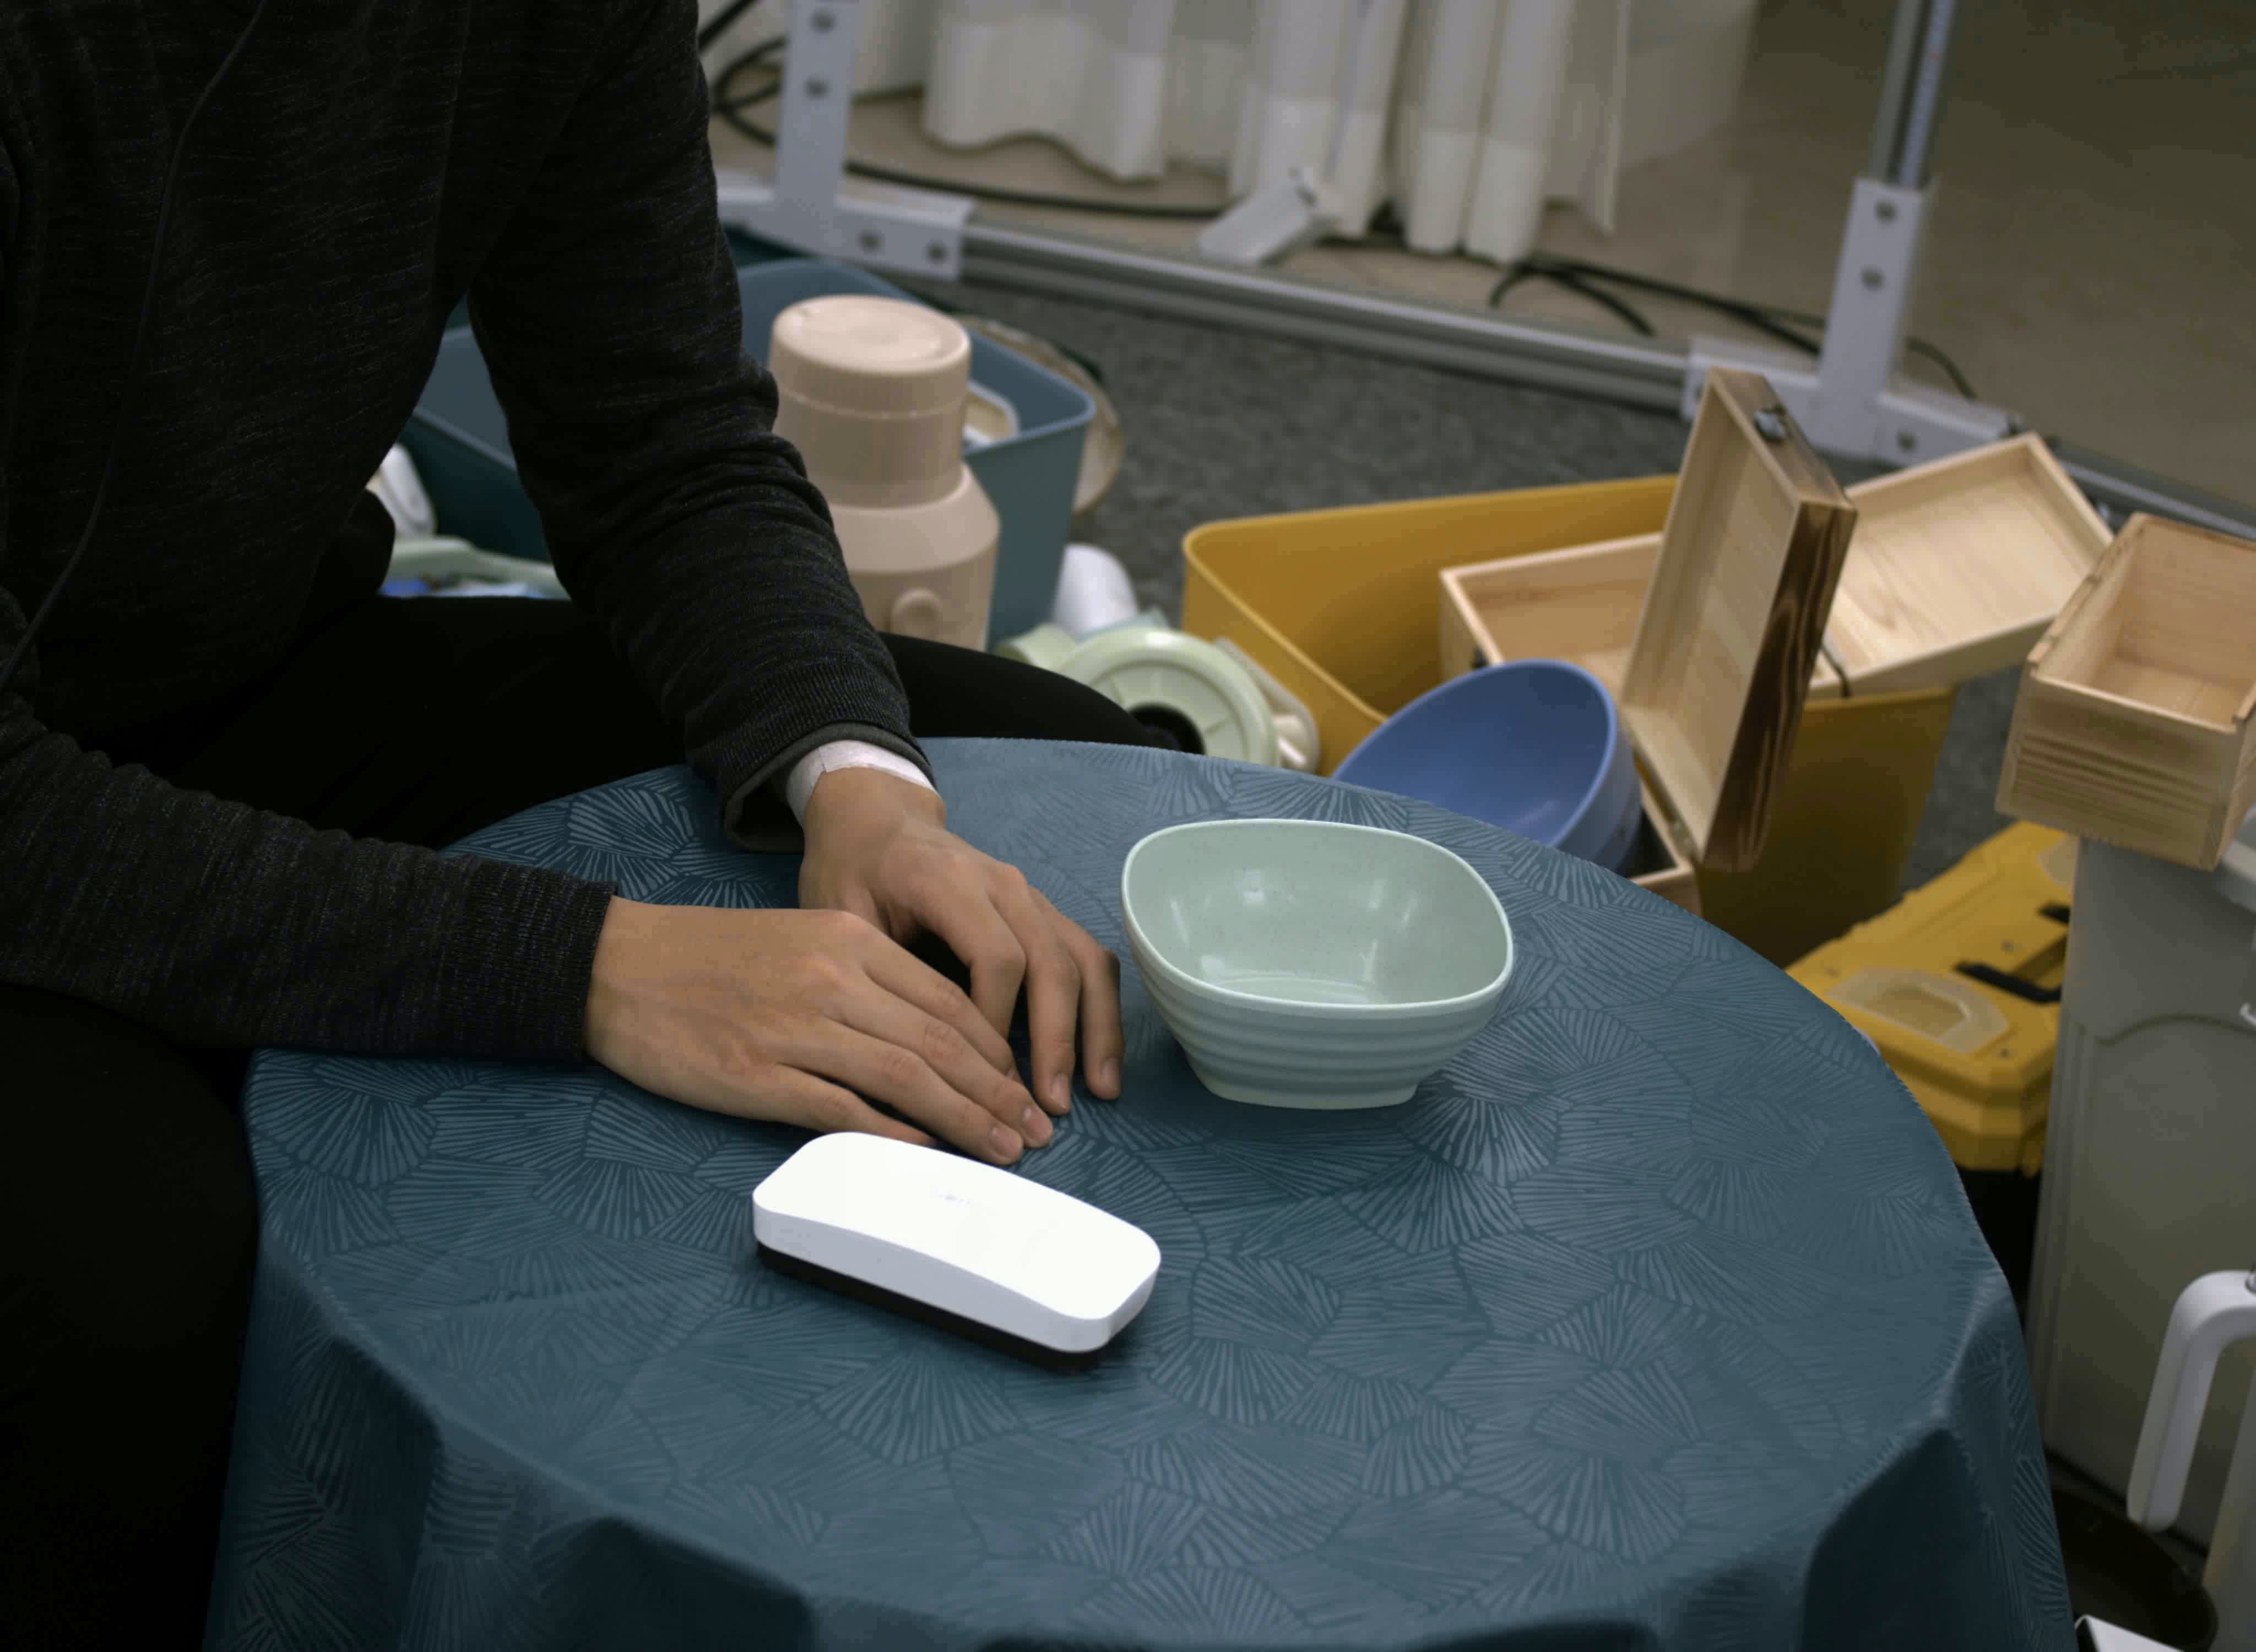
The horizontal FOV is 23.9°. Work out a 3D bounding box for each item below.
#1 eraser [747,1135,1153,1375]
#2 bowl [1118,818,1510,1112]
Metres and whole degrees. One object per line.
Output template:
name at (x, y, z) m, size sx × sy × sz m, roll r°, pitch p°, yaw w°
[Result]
eraser at (-0.058, 0.136, 1.730) m, size 0.132 × 0.034 × 0.063 m, roll 19°, pitch 27°, yaw 20°
bowl at (0.062, 0.055, 1.889) m, size 0.151 × 0.058 × 0.152 m, roll 7°, pitch 27°, yaw -4°
